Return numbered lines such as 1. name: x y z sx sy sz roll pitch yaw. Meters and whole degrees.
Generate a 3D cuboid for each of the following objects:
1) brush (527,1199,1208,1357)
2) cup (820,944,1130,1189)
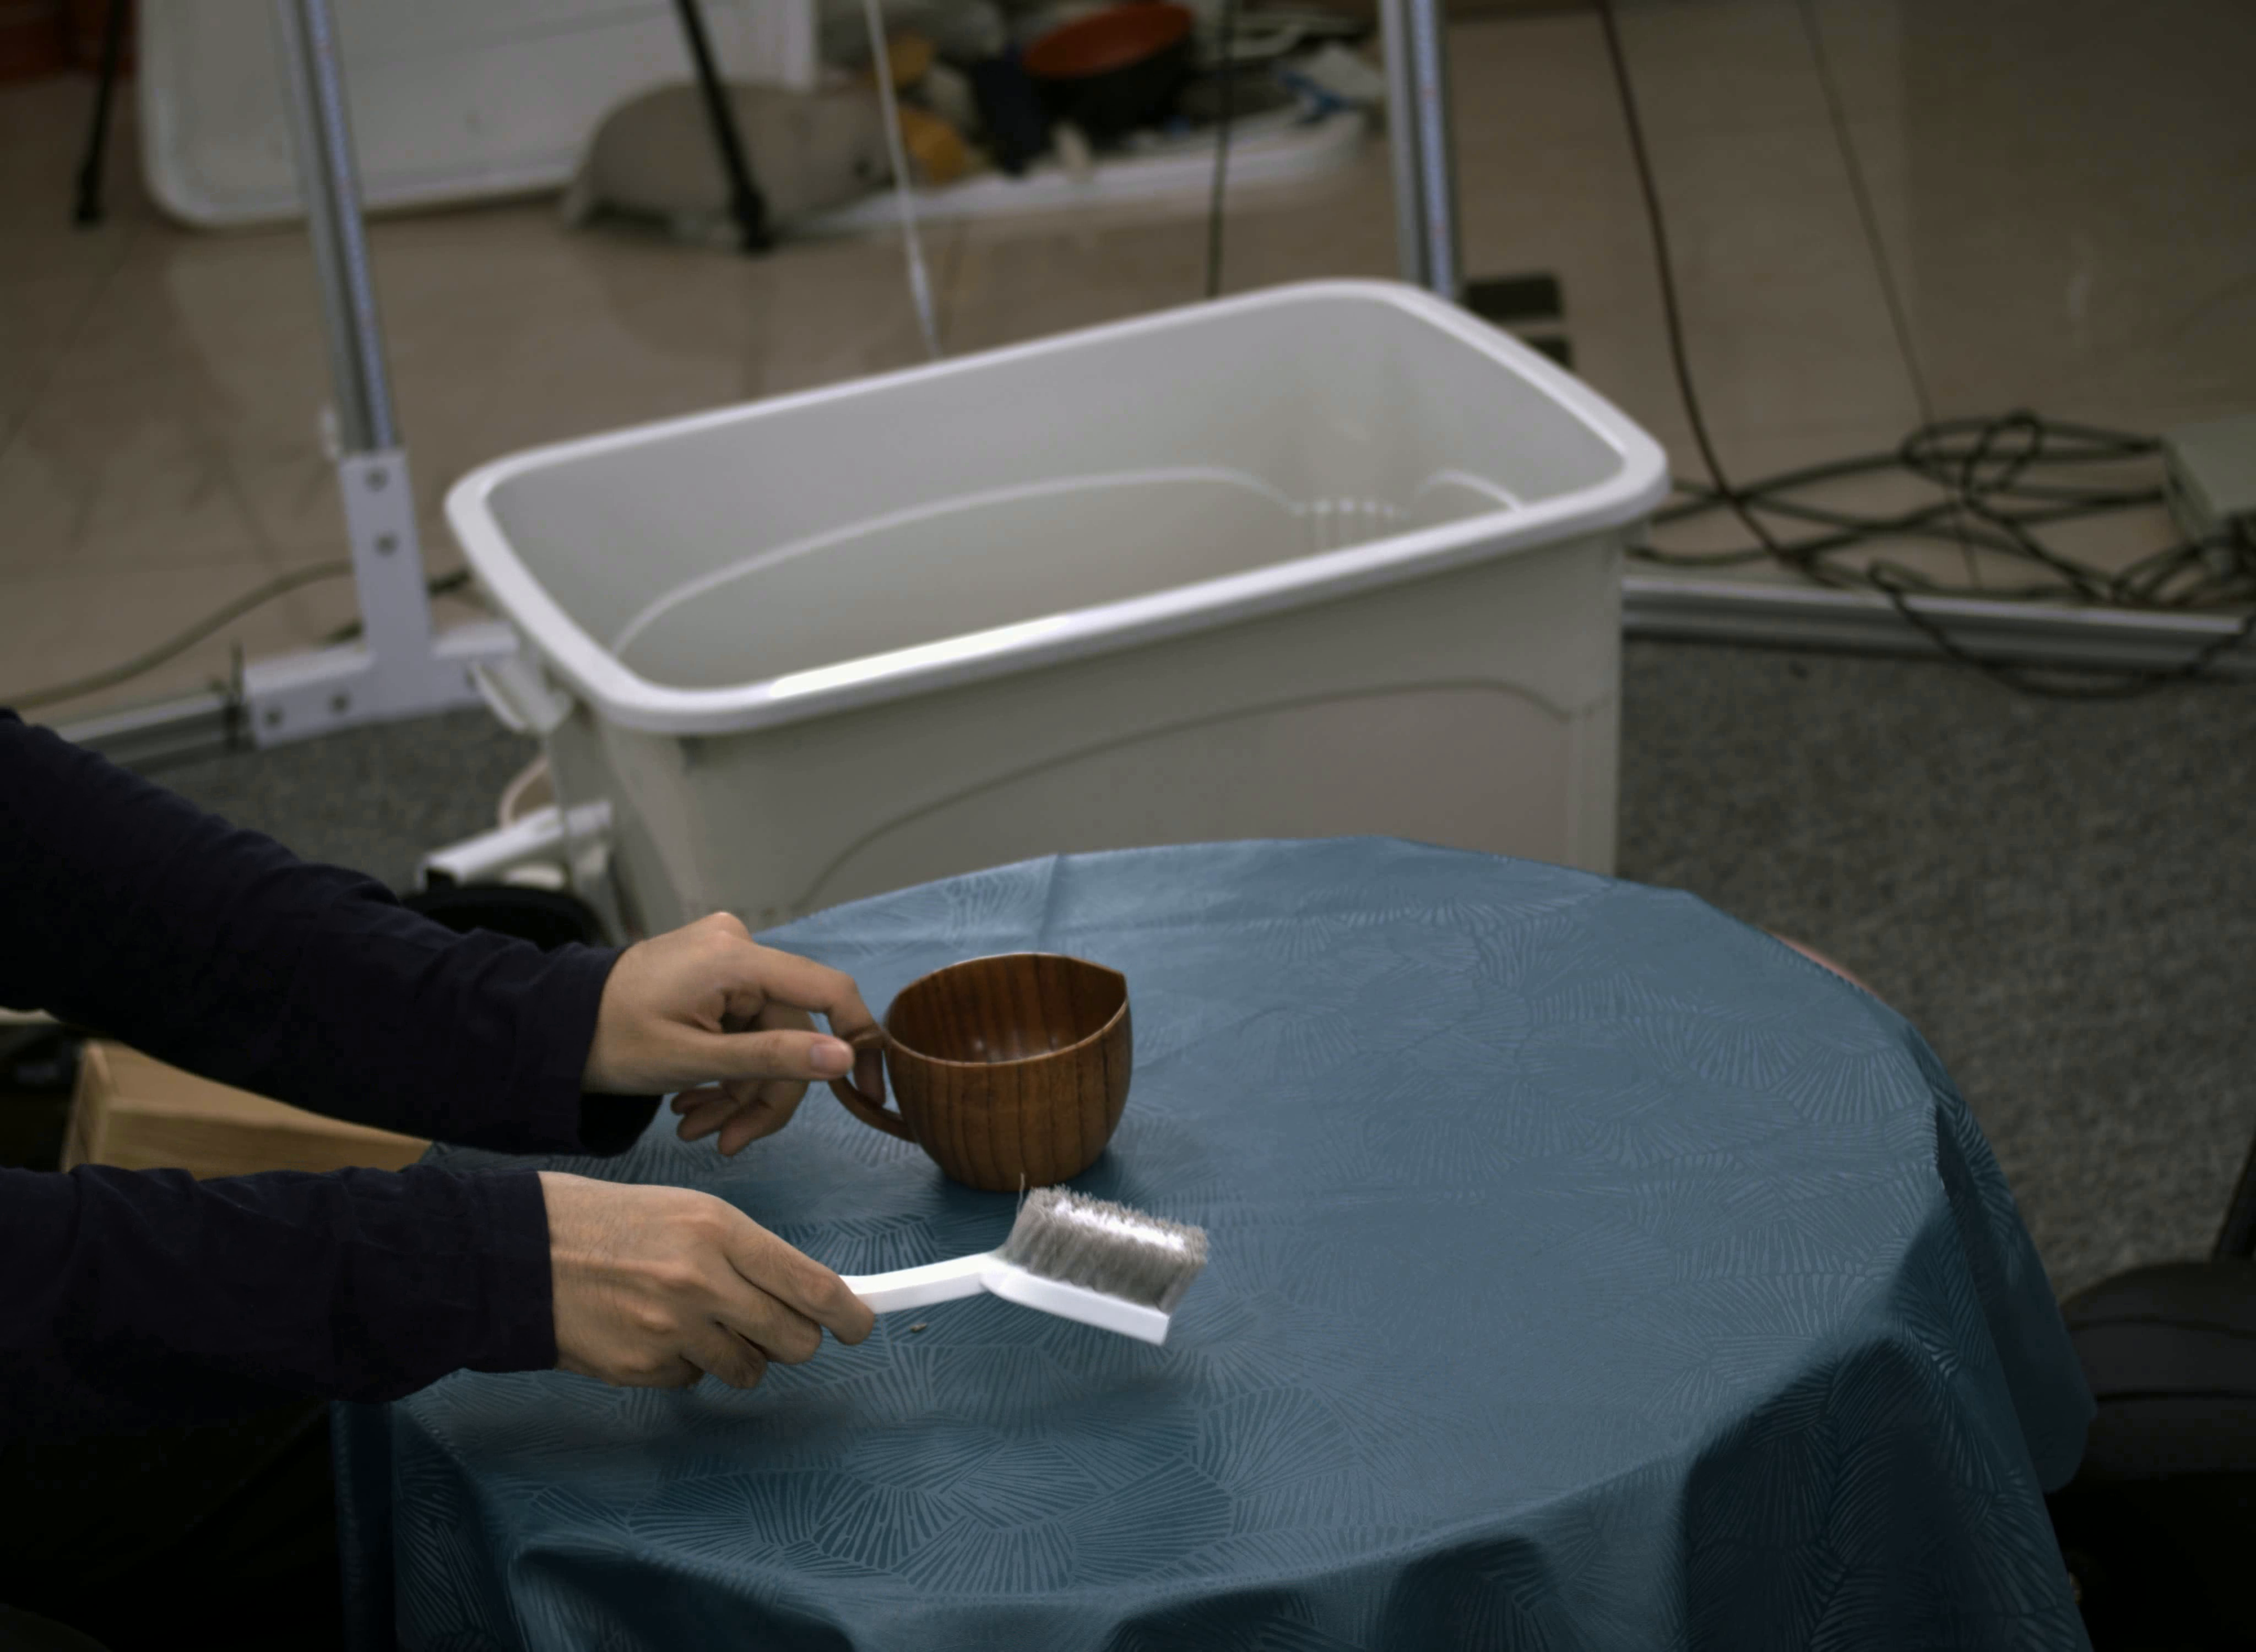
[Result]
1. brush: -0.093 0.155 2.006 0.243 0.051 0.034 3 28 5
2. cup: -0.057 0.096 2.170 0.119 0.069 0.094 -5 27 -2
